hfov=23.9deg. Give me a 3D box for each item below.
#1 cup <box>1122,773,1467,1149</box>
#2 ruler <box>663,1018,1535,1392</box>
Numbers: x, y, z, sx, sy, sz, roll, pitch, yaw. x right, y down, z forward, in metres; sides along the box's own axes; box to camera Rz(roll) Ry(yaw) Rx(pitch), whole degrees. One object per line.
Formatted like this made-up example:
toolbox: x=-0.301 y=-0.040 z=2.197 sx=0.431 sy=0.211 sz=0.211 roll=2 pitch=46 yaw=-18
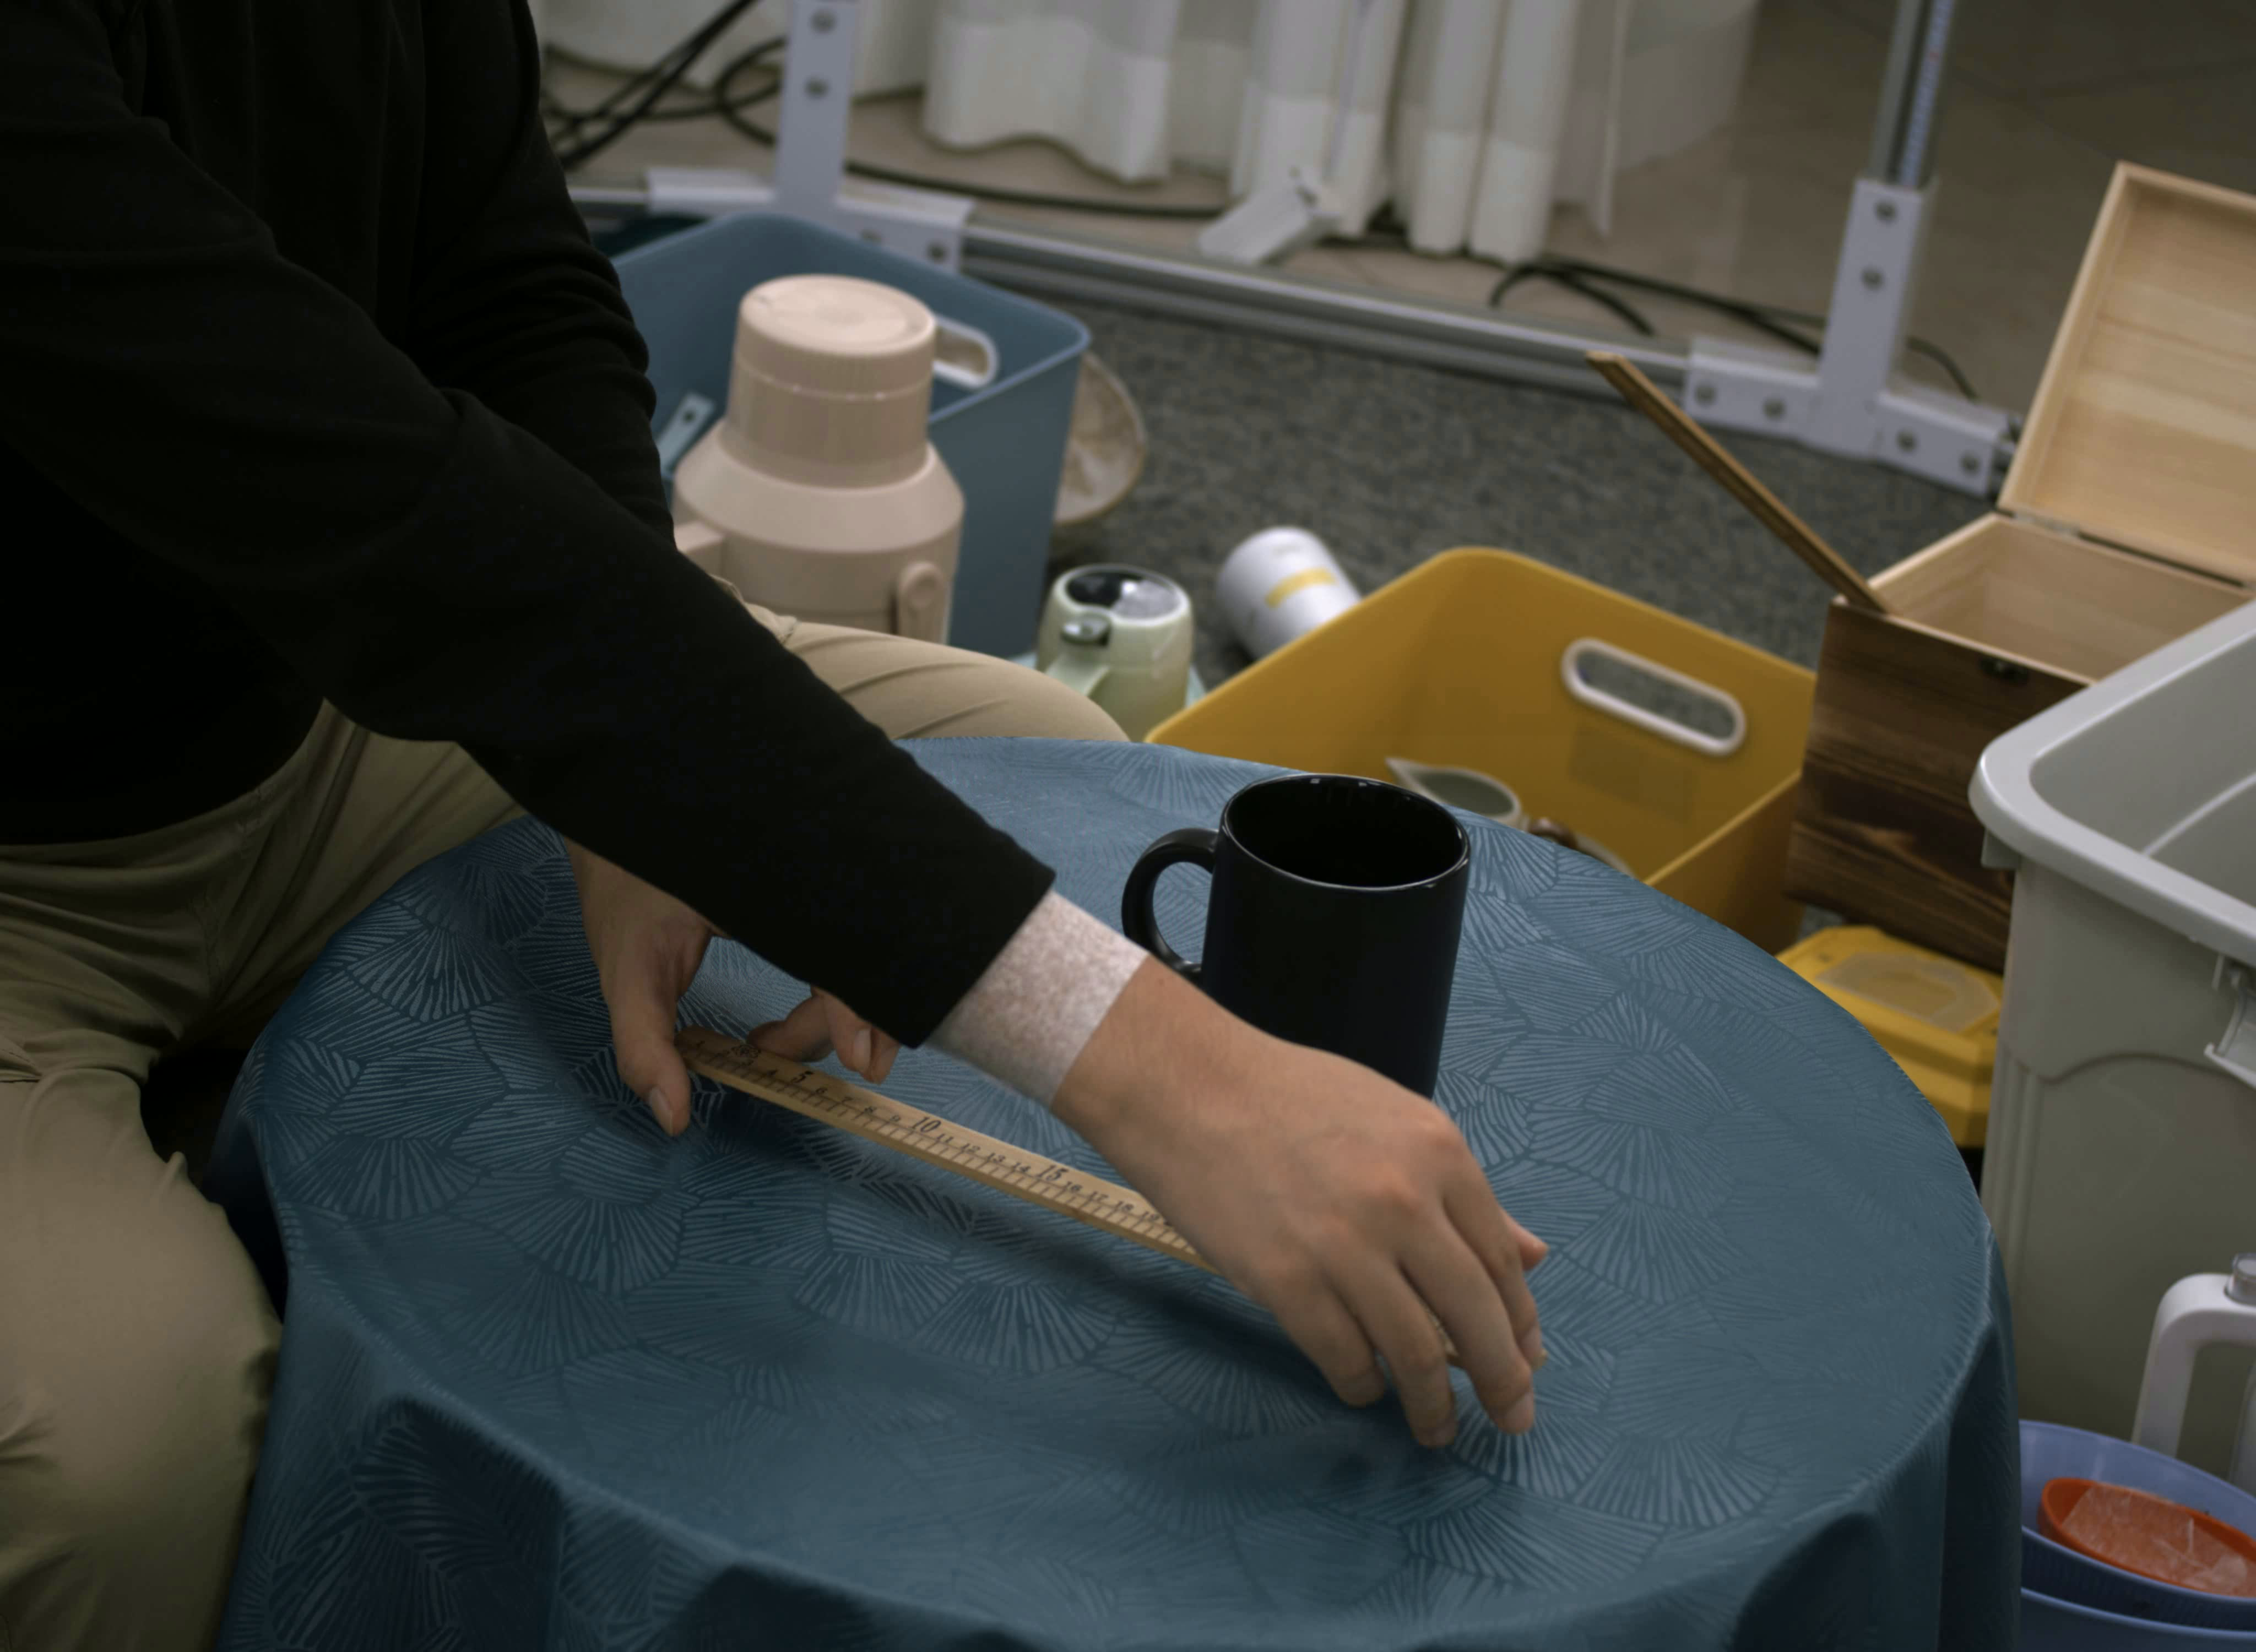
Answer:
cup: x=0.054 y=0.042 z=1.863 sx=0.124 sy=0.105 sz=0.088 roll=18 pitch=30 yaw=23
ruler: x=-0.015 y=0.120 z=1.756 sx=0.333 sy=0.022 sz=0.027 roll=20 pitch=24 yaw=28
